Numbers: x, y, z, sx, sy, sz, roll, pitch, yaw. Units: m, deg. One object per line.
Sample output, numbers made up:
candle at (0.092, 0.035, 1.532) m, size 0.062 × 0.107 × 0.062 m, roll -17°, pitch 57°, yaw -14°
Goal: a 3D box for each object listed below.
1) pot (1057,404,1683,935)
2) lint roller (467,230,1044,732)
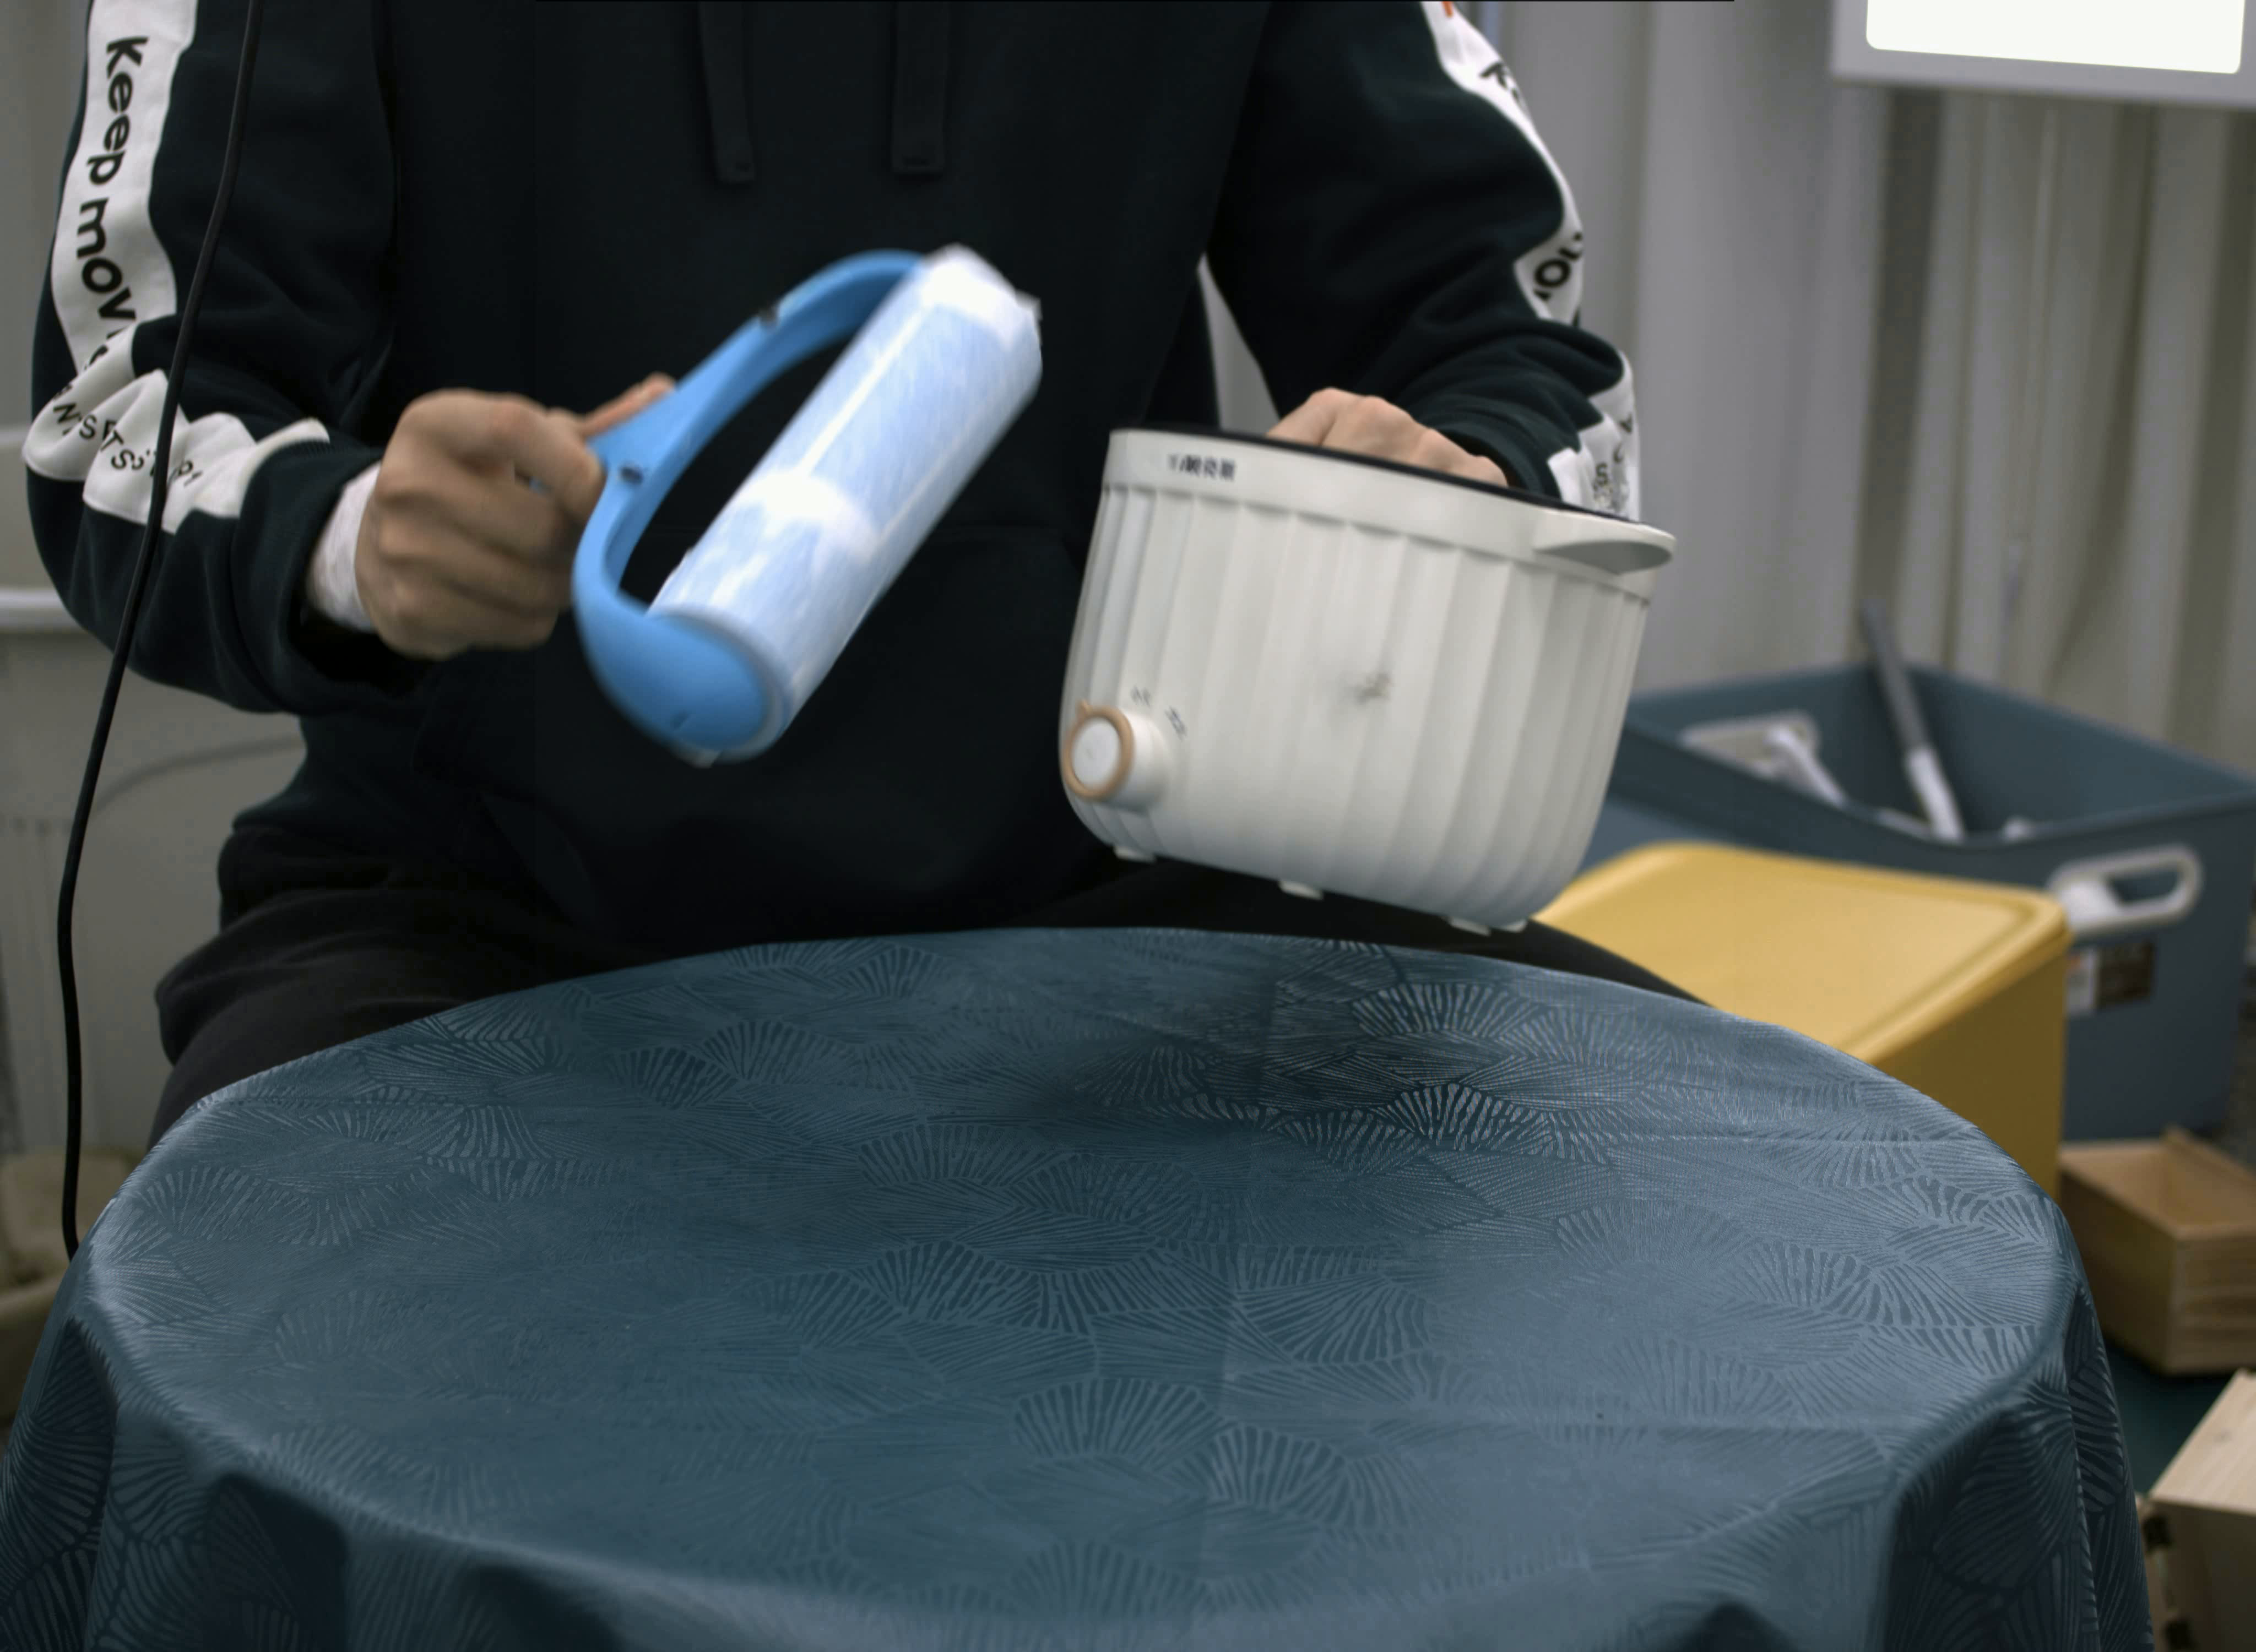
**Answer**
pot at (0.066, -0.048, 1.684) m, size 0.192 × 0.143 × 0.237 m, roll 18°, pitch -6°, yaw -44°
lint roller at (-0.135, -0.099, 1.599) m, size 0.178 × 0.069 × 0.228 m, roll -7°, pitch 35°, yaw 24°
